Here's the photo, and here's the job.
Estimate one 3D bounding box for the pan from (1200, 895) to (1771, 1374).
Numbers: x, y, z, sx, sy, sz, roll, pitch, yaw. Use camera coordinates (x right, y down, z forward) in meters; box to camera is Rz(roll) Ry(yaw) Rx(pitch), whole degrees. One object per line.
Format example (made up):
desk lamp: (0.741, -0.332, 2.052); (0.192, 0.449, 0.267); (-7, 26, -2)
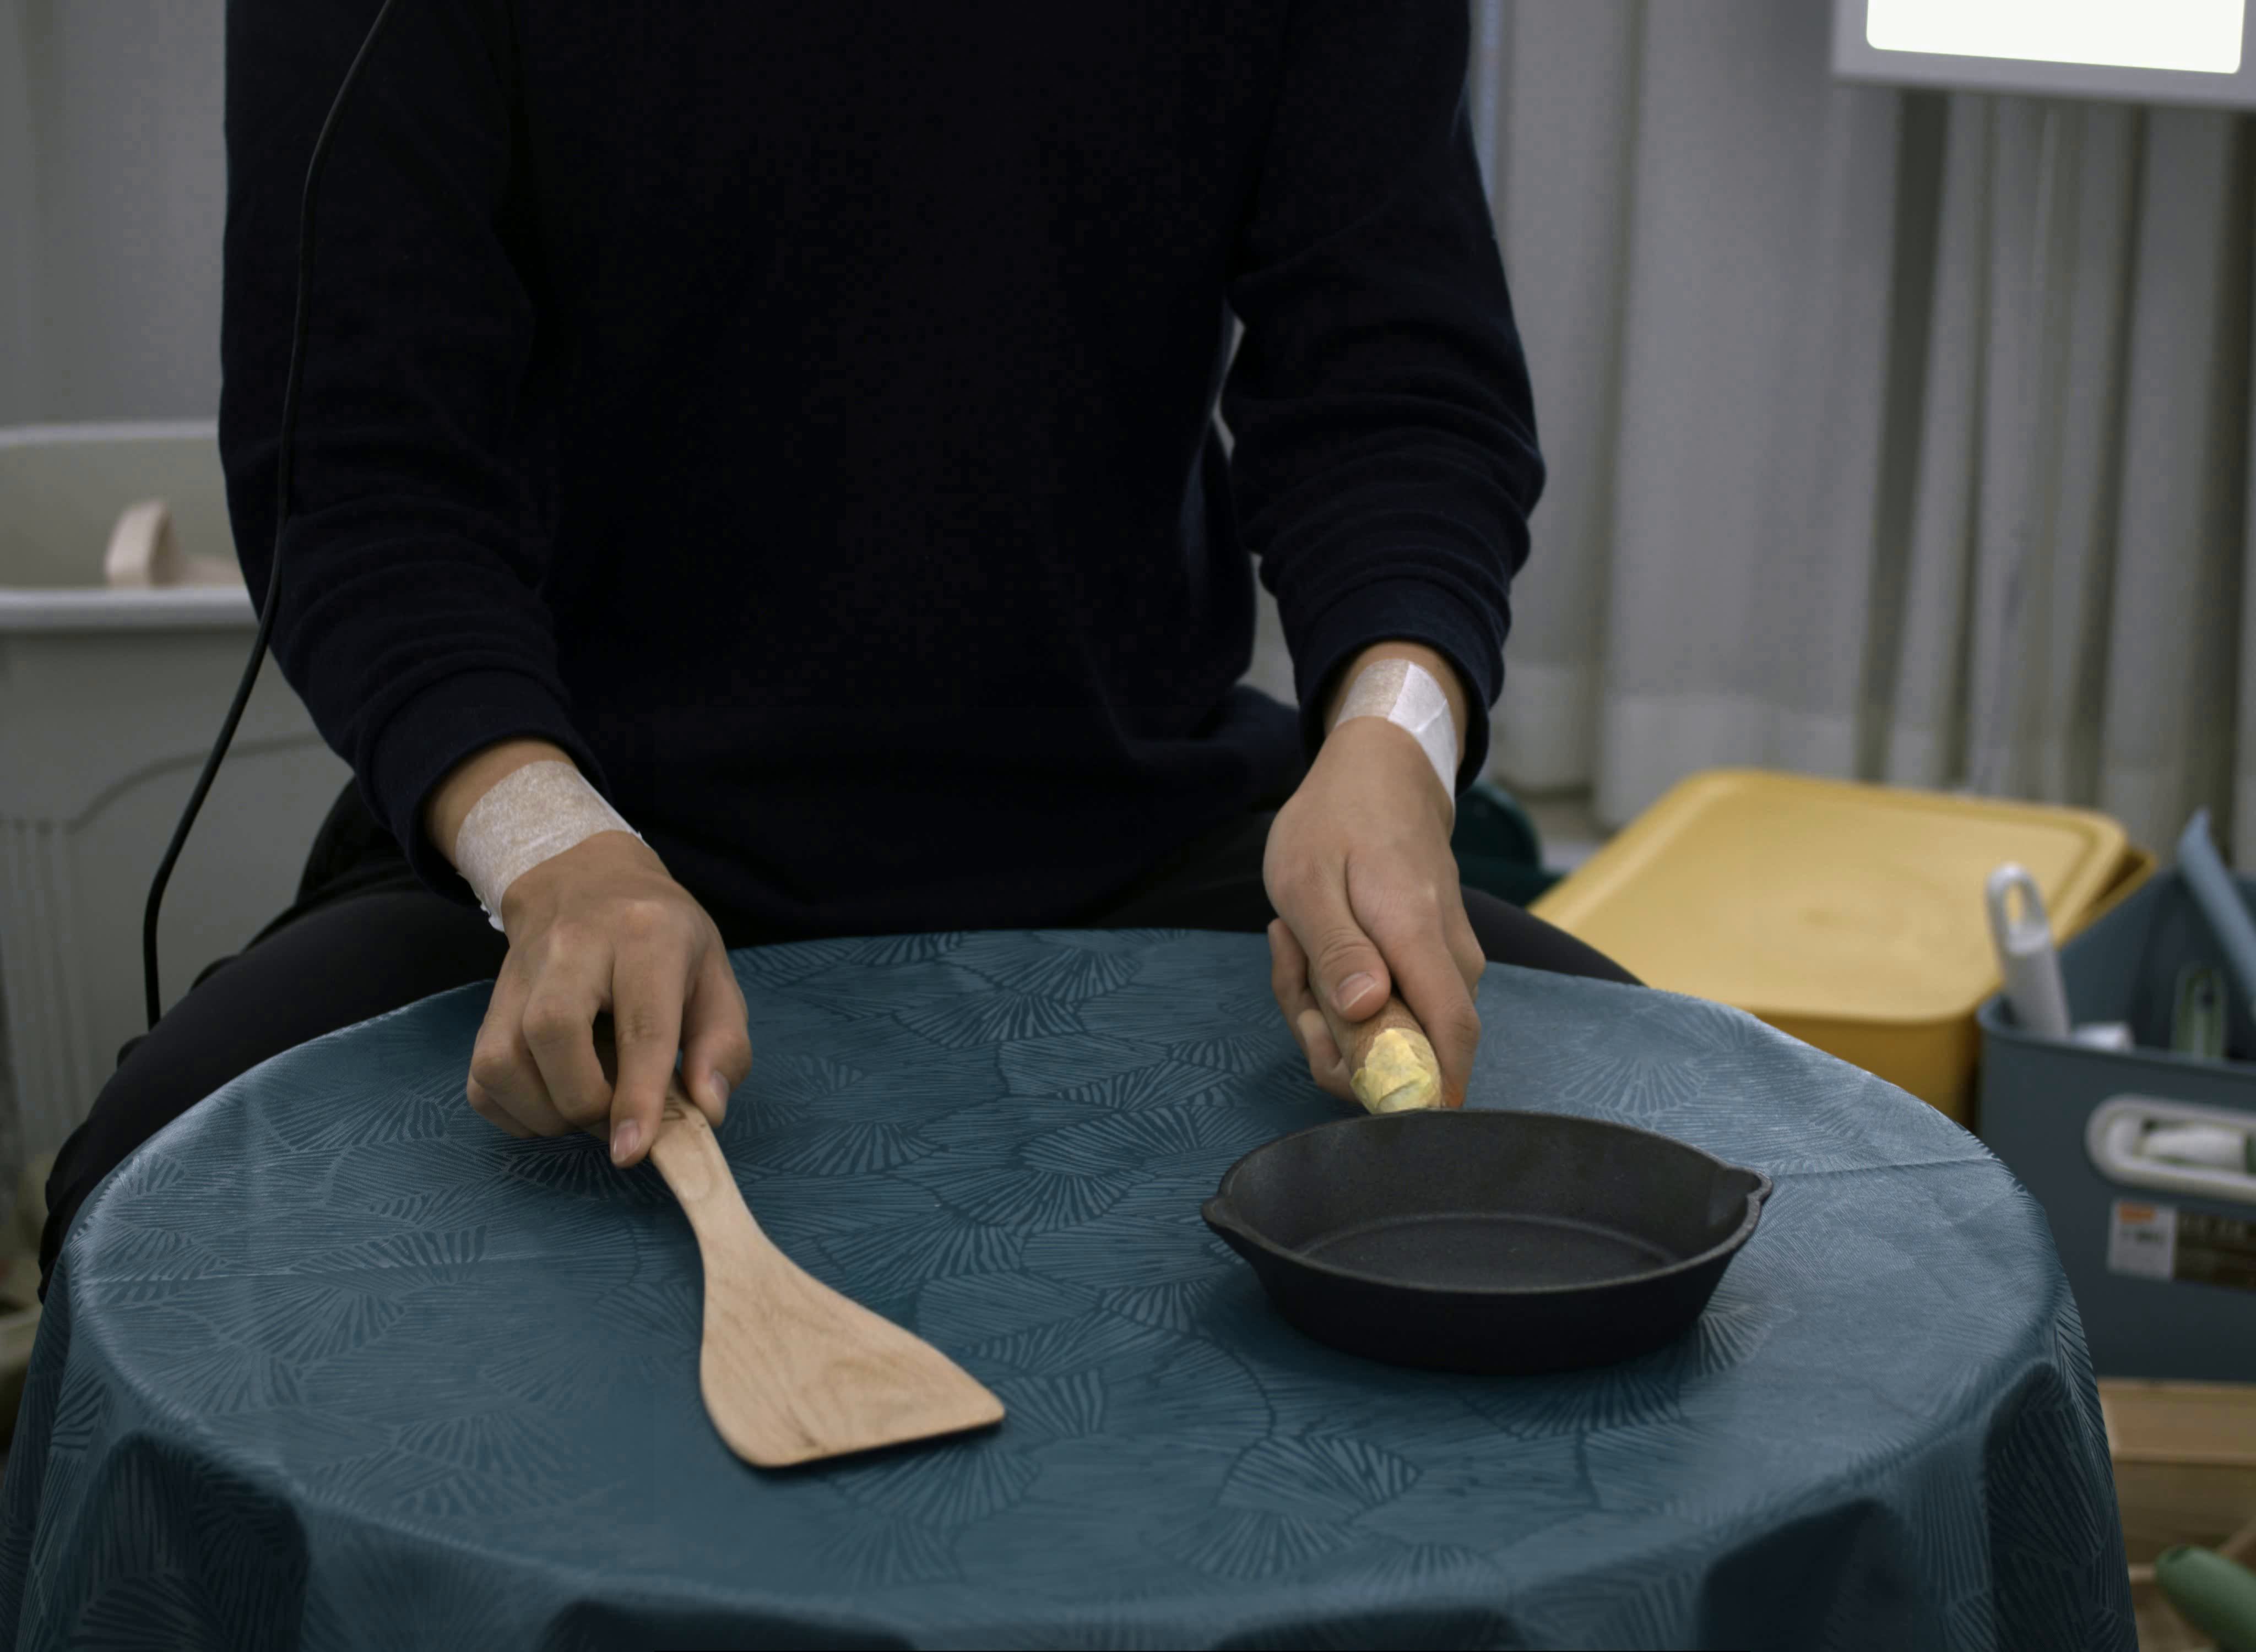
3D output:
pan: (0.093, 0.091, 1.608); (0.169, 0.050, 0.321); (-2, 17, -8)

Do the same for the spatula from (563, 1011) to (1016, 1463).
spatula: (-0.116, 0.115, 1.547); (0.080, 0.016, 0.323); (-4, 22, -20)
